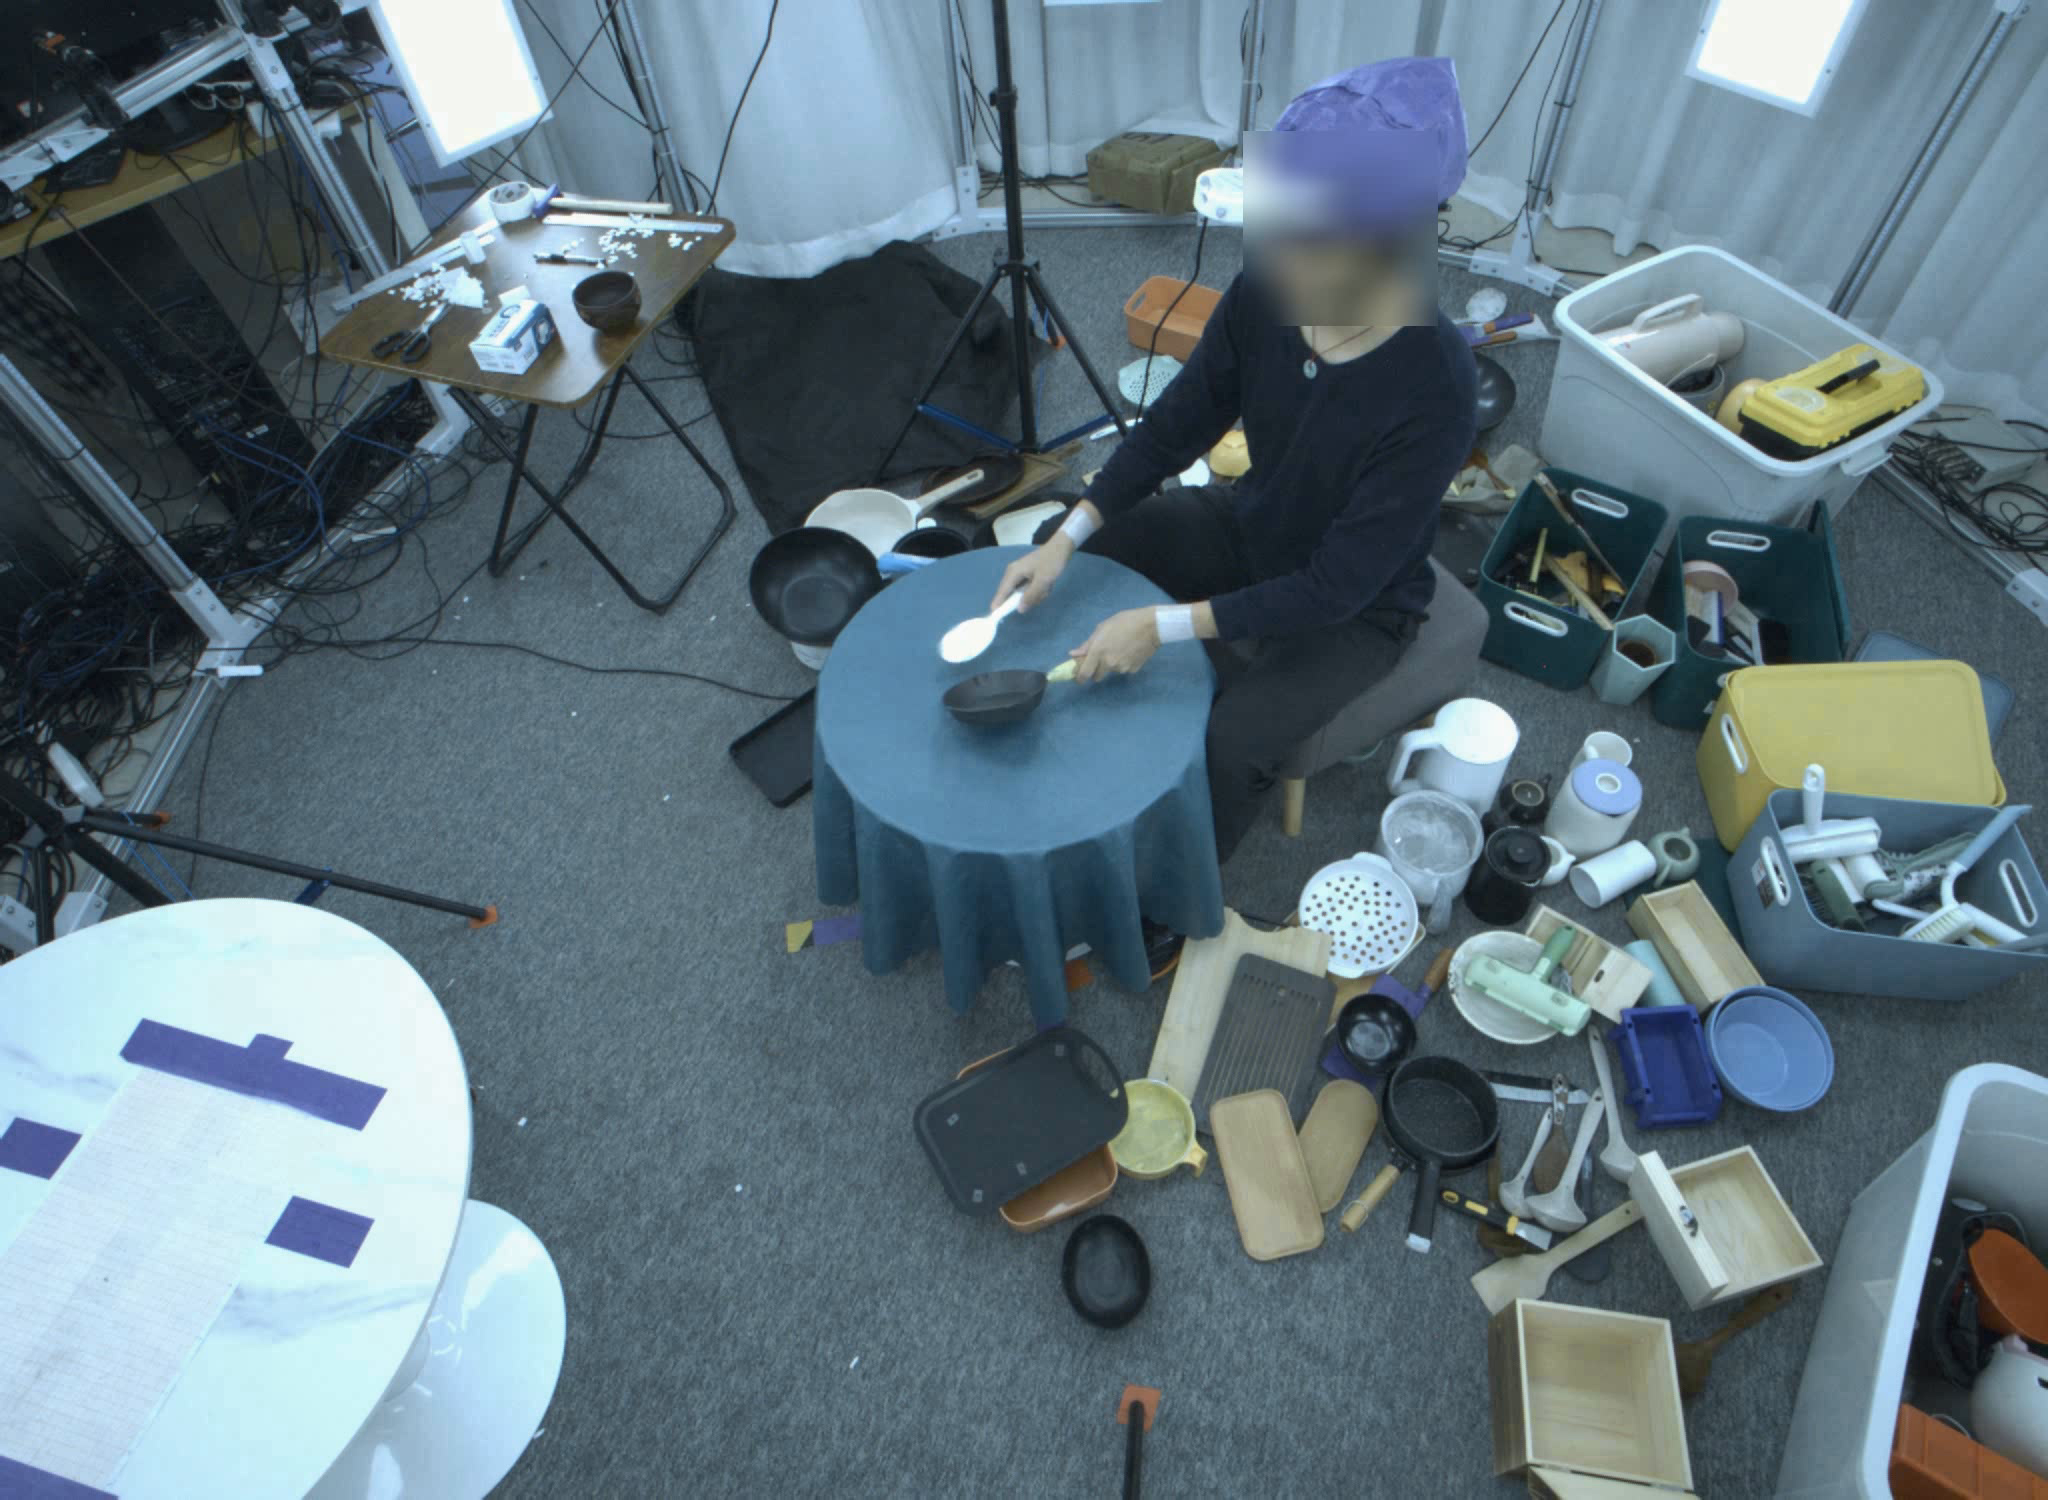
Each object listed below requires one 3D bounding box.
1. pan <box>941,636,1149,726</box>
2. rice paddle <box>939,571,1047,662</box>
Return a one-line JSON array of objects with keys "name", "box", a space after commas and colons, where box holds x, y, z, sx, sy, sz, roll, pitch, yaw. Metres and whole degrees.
[{"name": "pan", "box": [0.037, -0.104, 1.800, 0.326, 0.050, 0.166, -17, 24, -11]}, {"name": "rice paddle", "box": [-0.048, -0.202, 1.867, 0.206, 0.030, 0.067, -41, 58, -19]}]
